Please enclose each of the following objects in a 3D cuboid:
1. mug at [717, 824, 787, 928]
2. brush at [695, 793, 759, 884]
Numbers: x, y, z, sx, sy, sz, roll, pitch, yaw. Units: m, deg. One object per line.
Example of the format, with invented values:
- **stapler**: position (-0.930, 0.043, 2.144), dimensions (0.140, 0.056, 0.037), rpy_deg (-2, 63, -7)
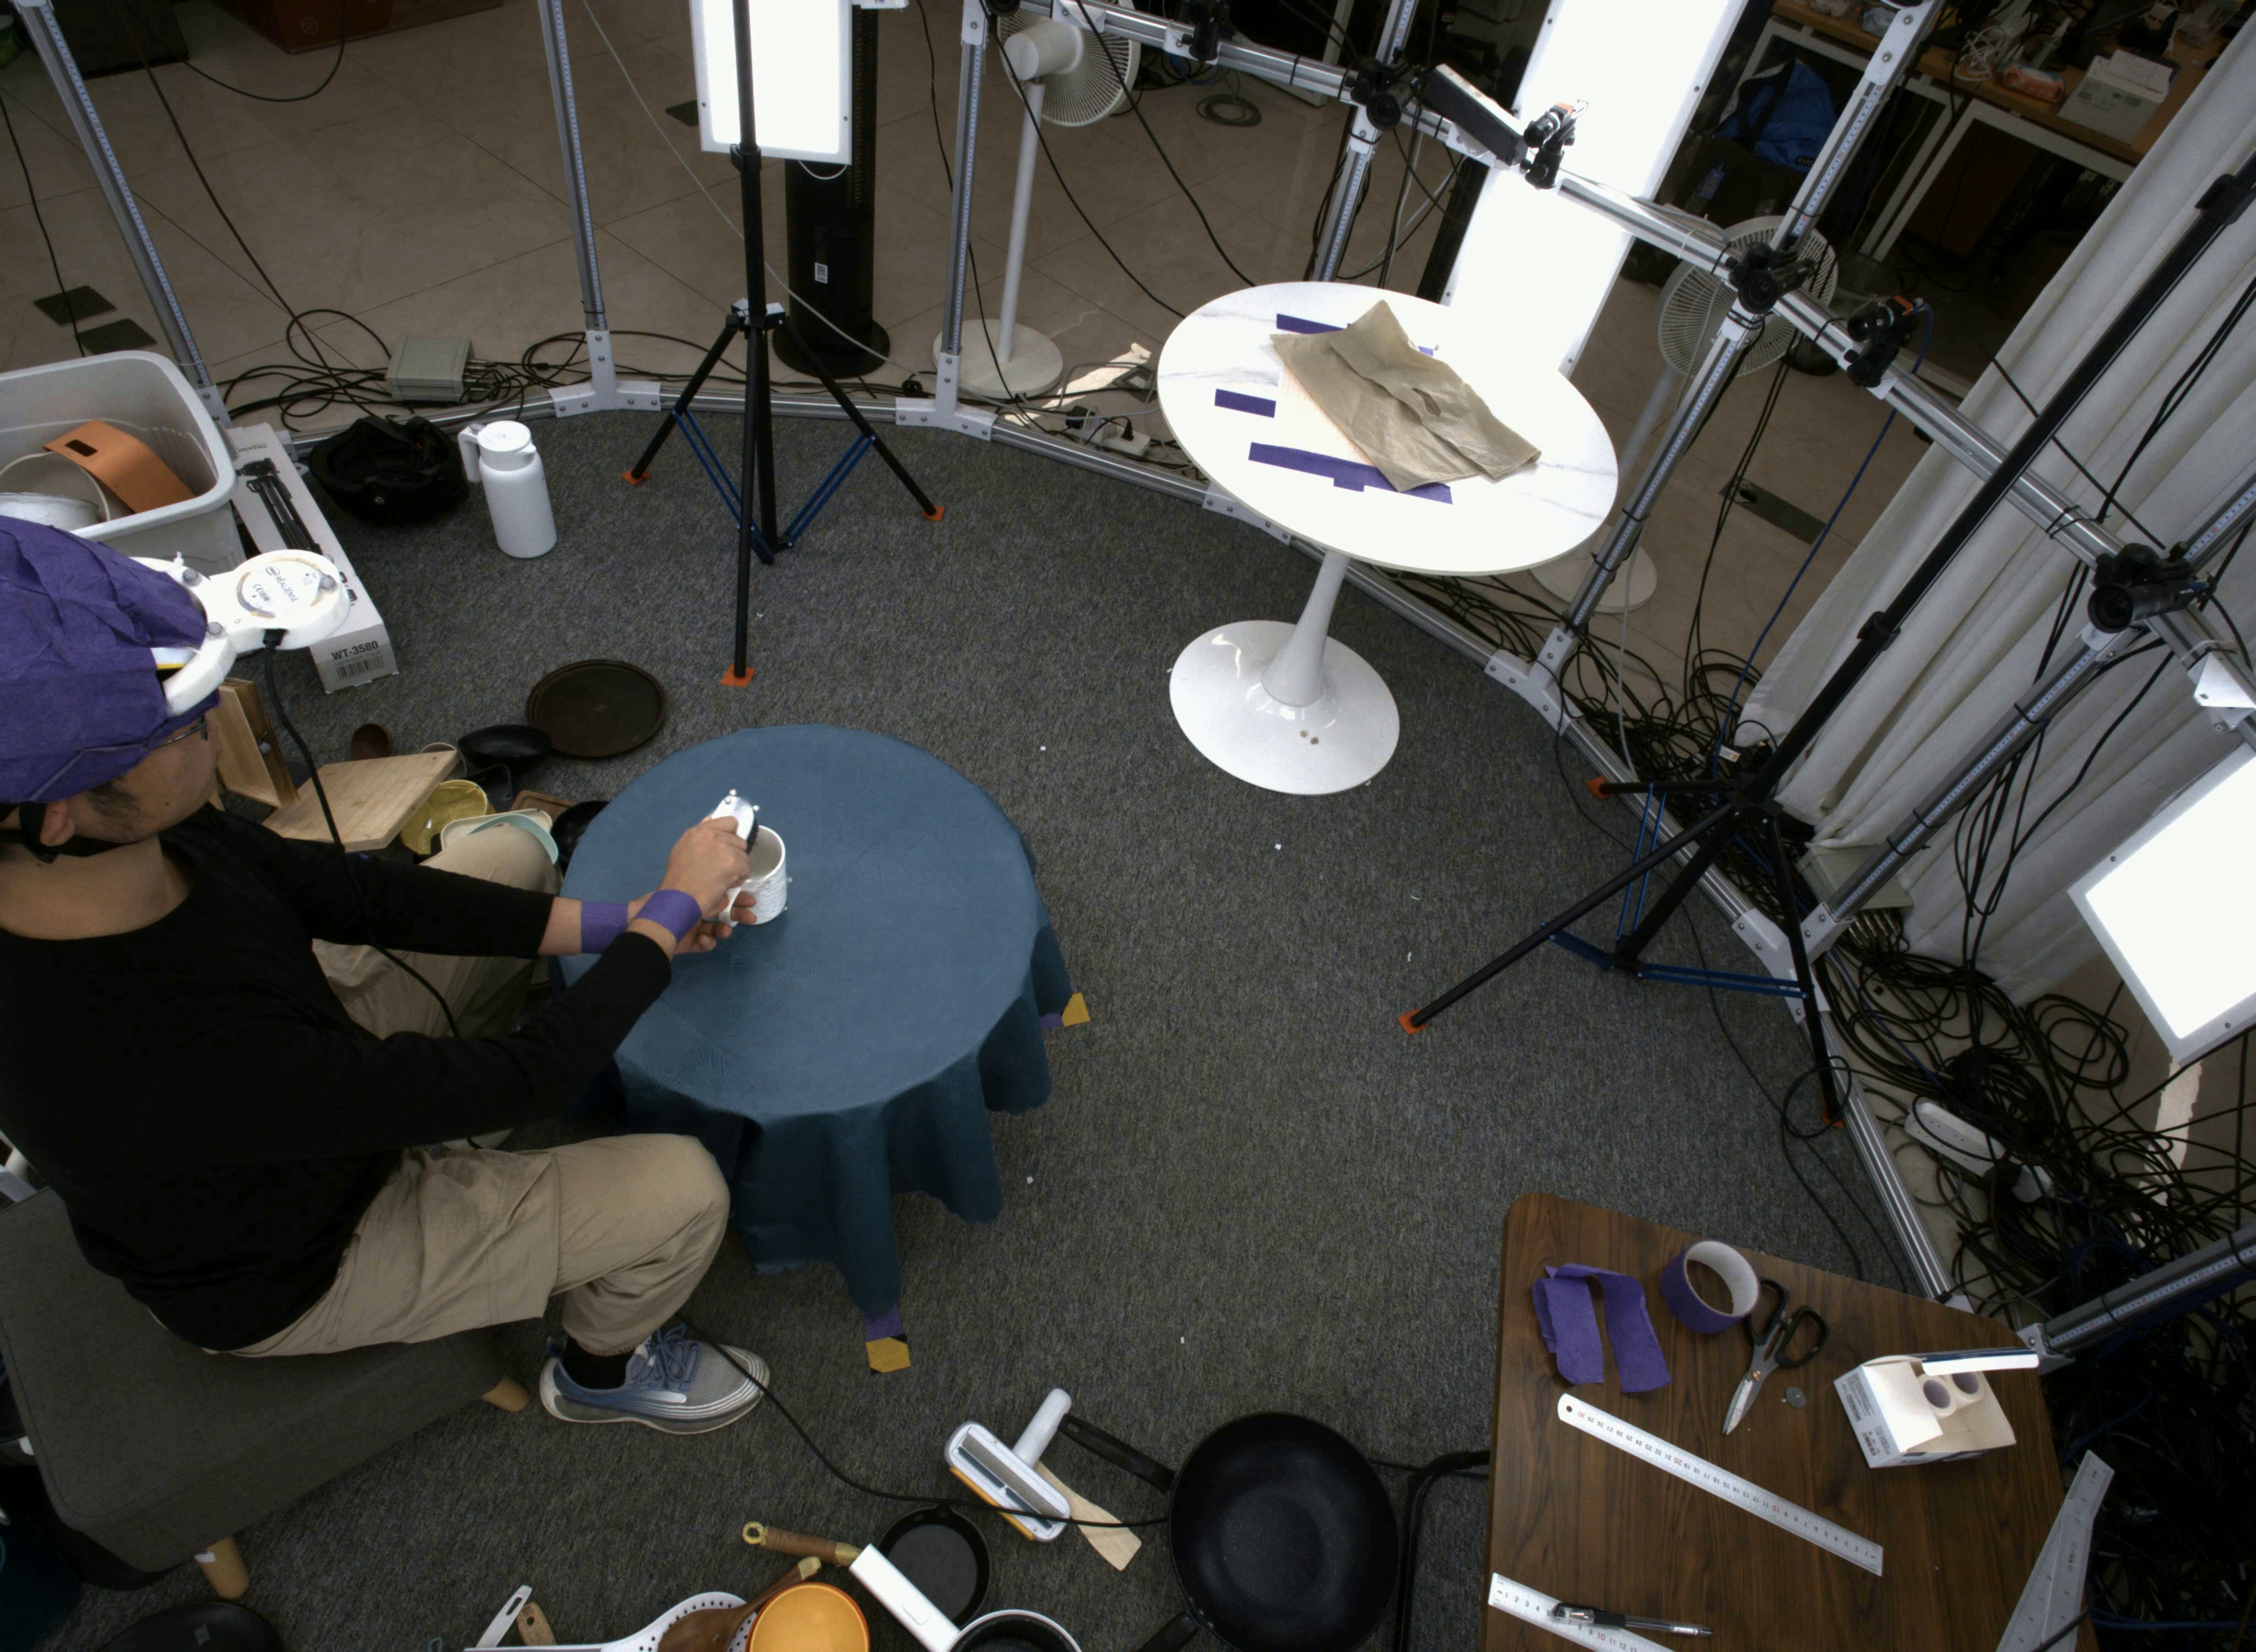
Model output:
- **mug**: position (-0.472, 0.072, 1.595), dimensions (0.084, 0.104, 0.117), rpy_deg (18, 51, 1)
- **brush**: position (-0.479, 0.006, 1.526), dimensions (0.049, 0.074, 0.098), rpy_deg (14, 58, 7)
